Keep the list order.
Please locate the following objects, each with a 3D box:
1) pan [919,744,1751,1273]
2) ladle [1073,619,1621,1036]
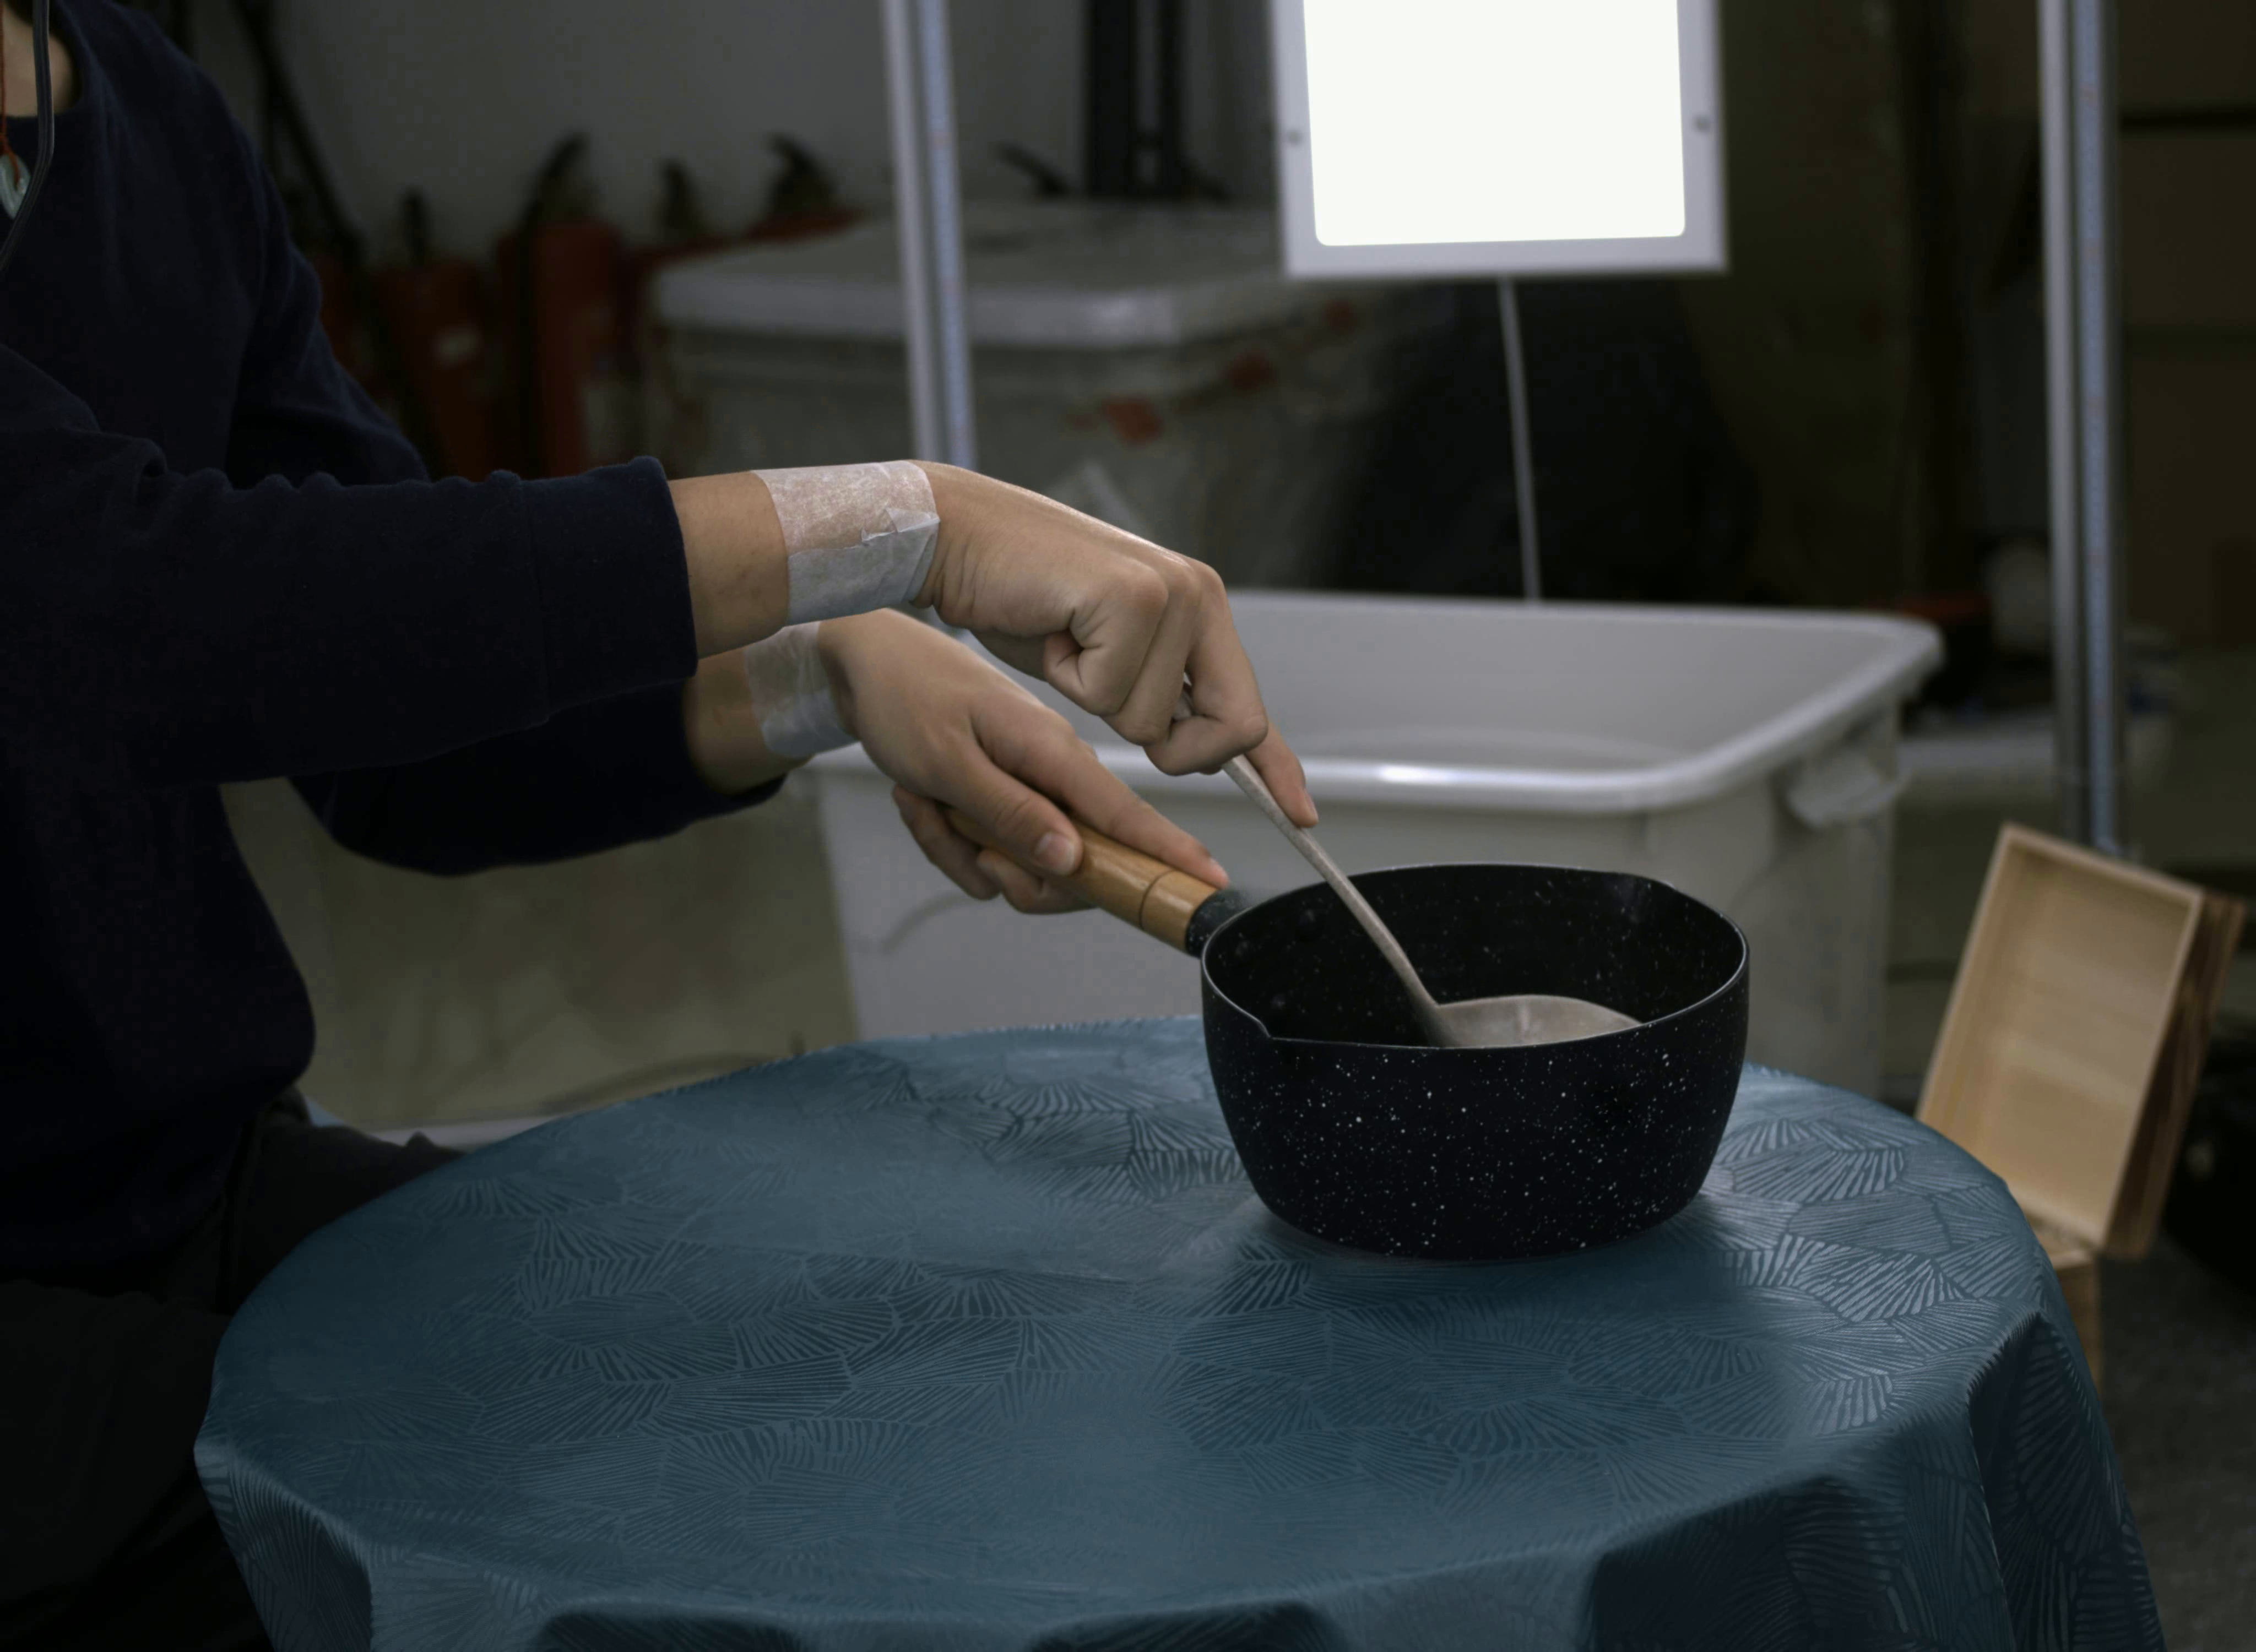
[{"bbox_3d":[0.057,0.056,1.892,0.350,0.109,0.202,15,27,40],"label":"pan"},{"bbox_3d":[0.085,0.008,1.819,0.070,0.272,0.090,-35,30,8],"label":"ladle"}]
